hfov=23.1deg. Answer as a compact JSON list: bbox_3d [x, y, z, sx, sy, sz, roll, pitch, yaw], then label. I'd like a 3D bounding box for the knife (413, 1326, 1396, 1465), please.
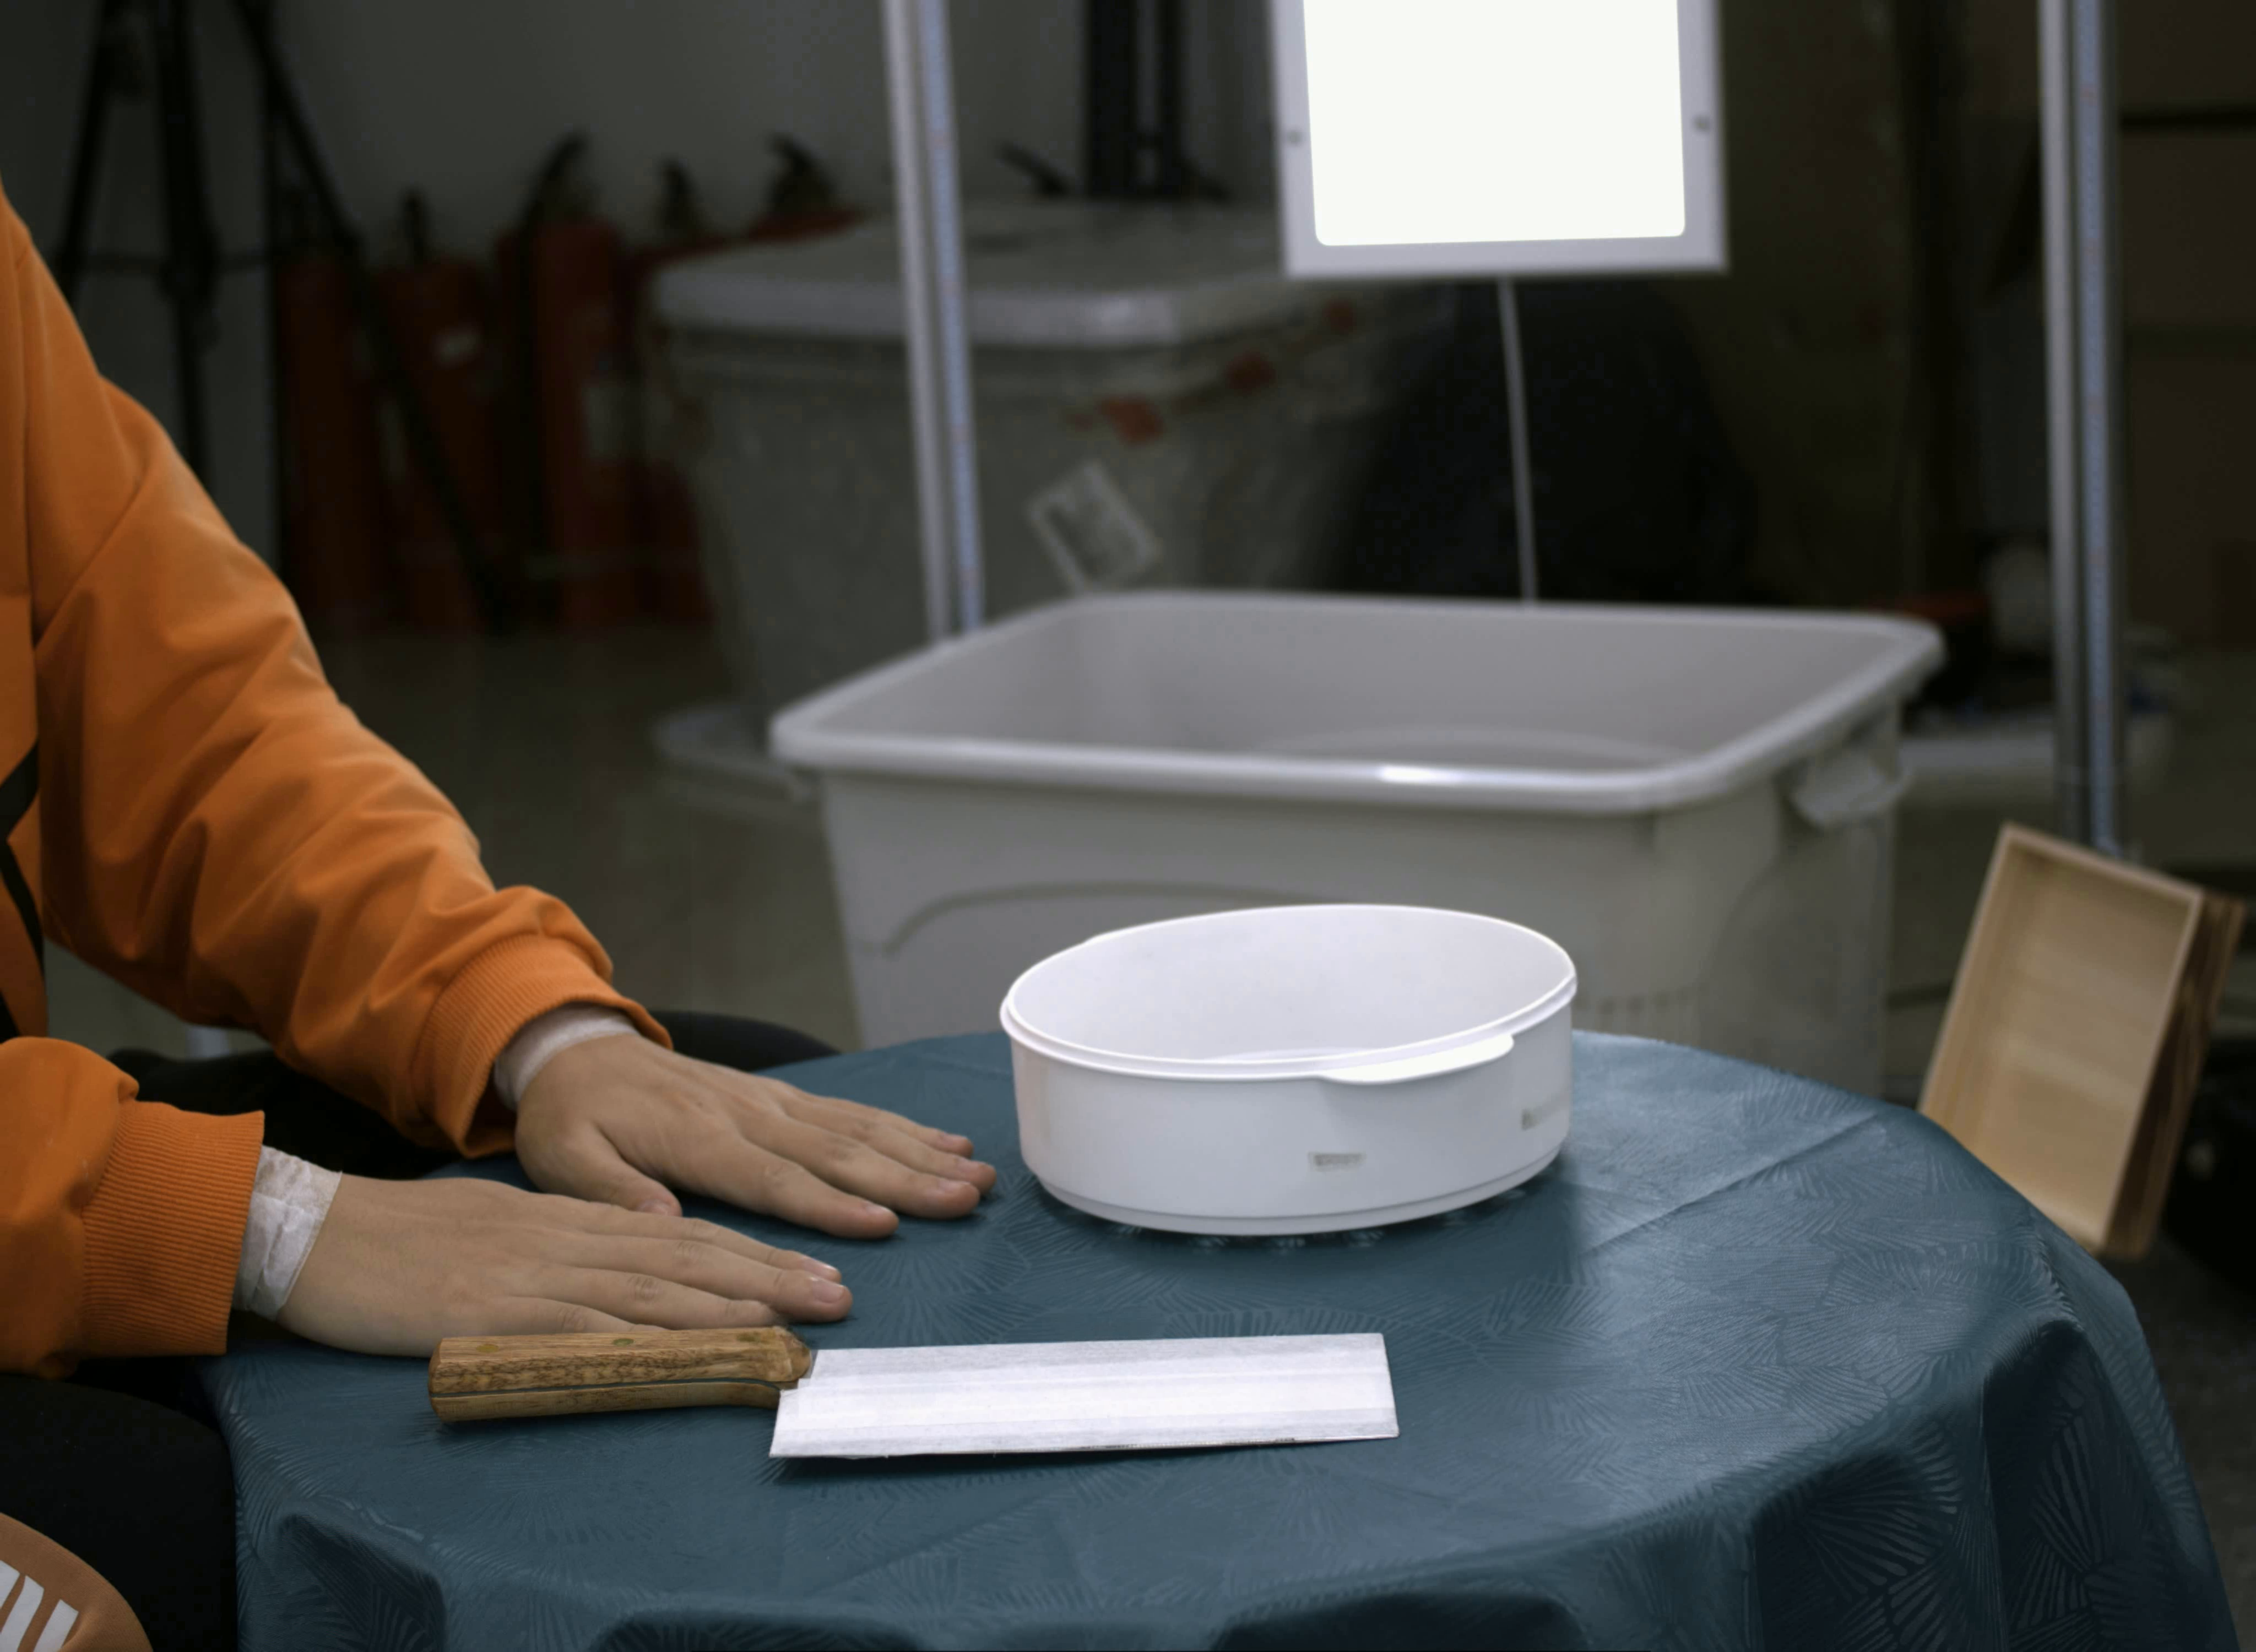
[{"bbox_3d":[-0.071,0.175,1.692,0.305,0.021,0.092,-2,15,2],"label":"knife"}]

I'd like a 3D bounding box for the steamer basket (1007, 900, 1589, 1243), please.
[{"bbox_3d":[0.060,0.085,1.899,0.198,0.069,0.234,-11,17,-22],"label":"steamer basket"}]
